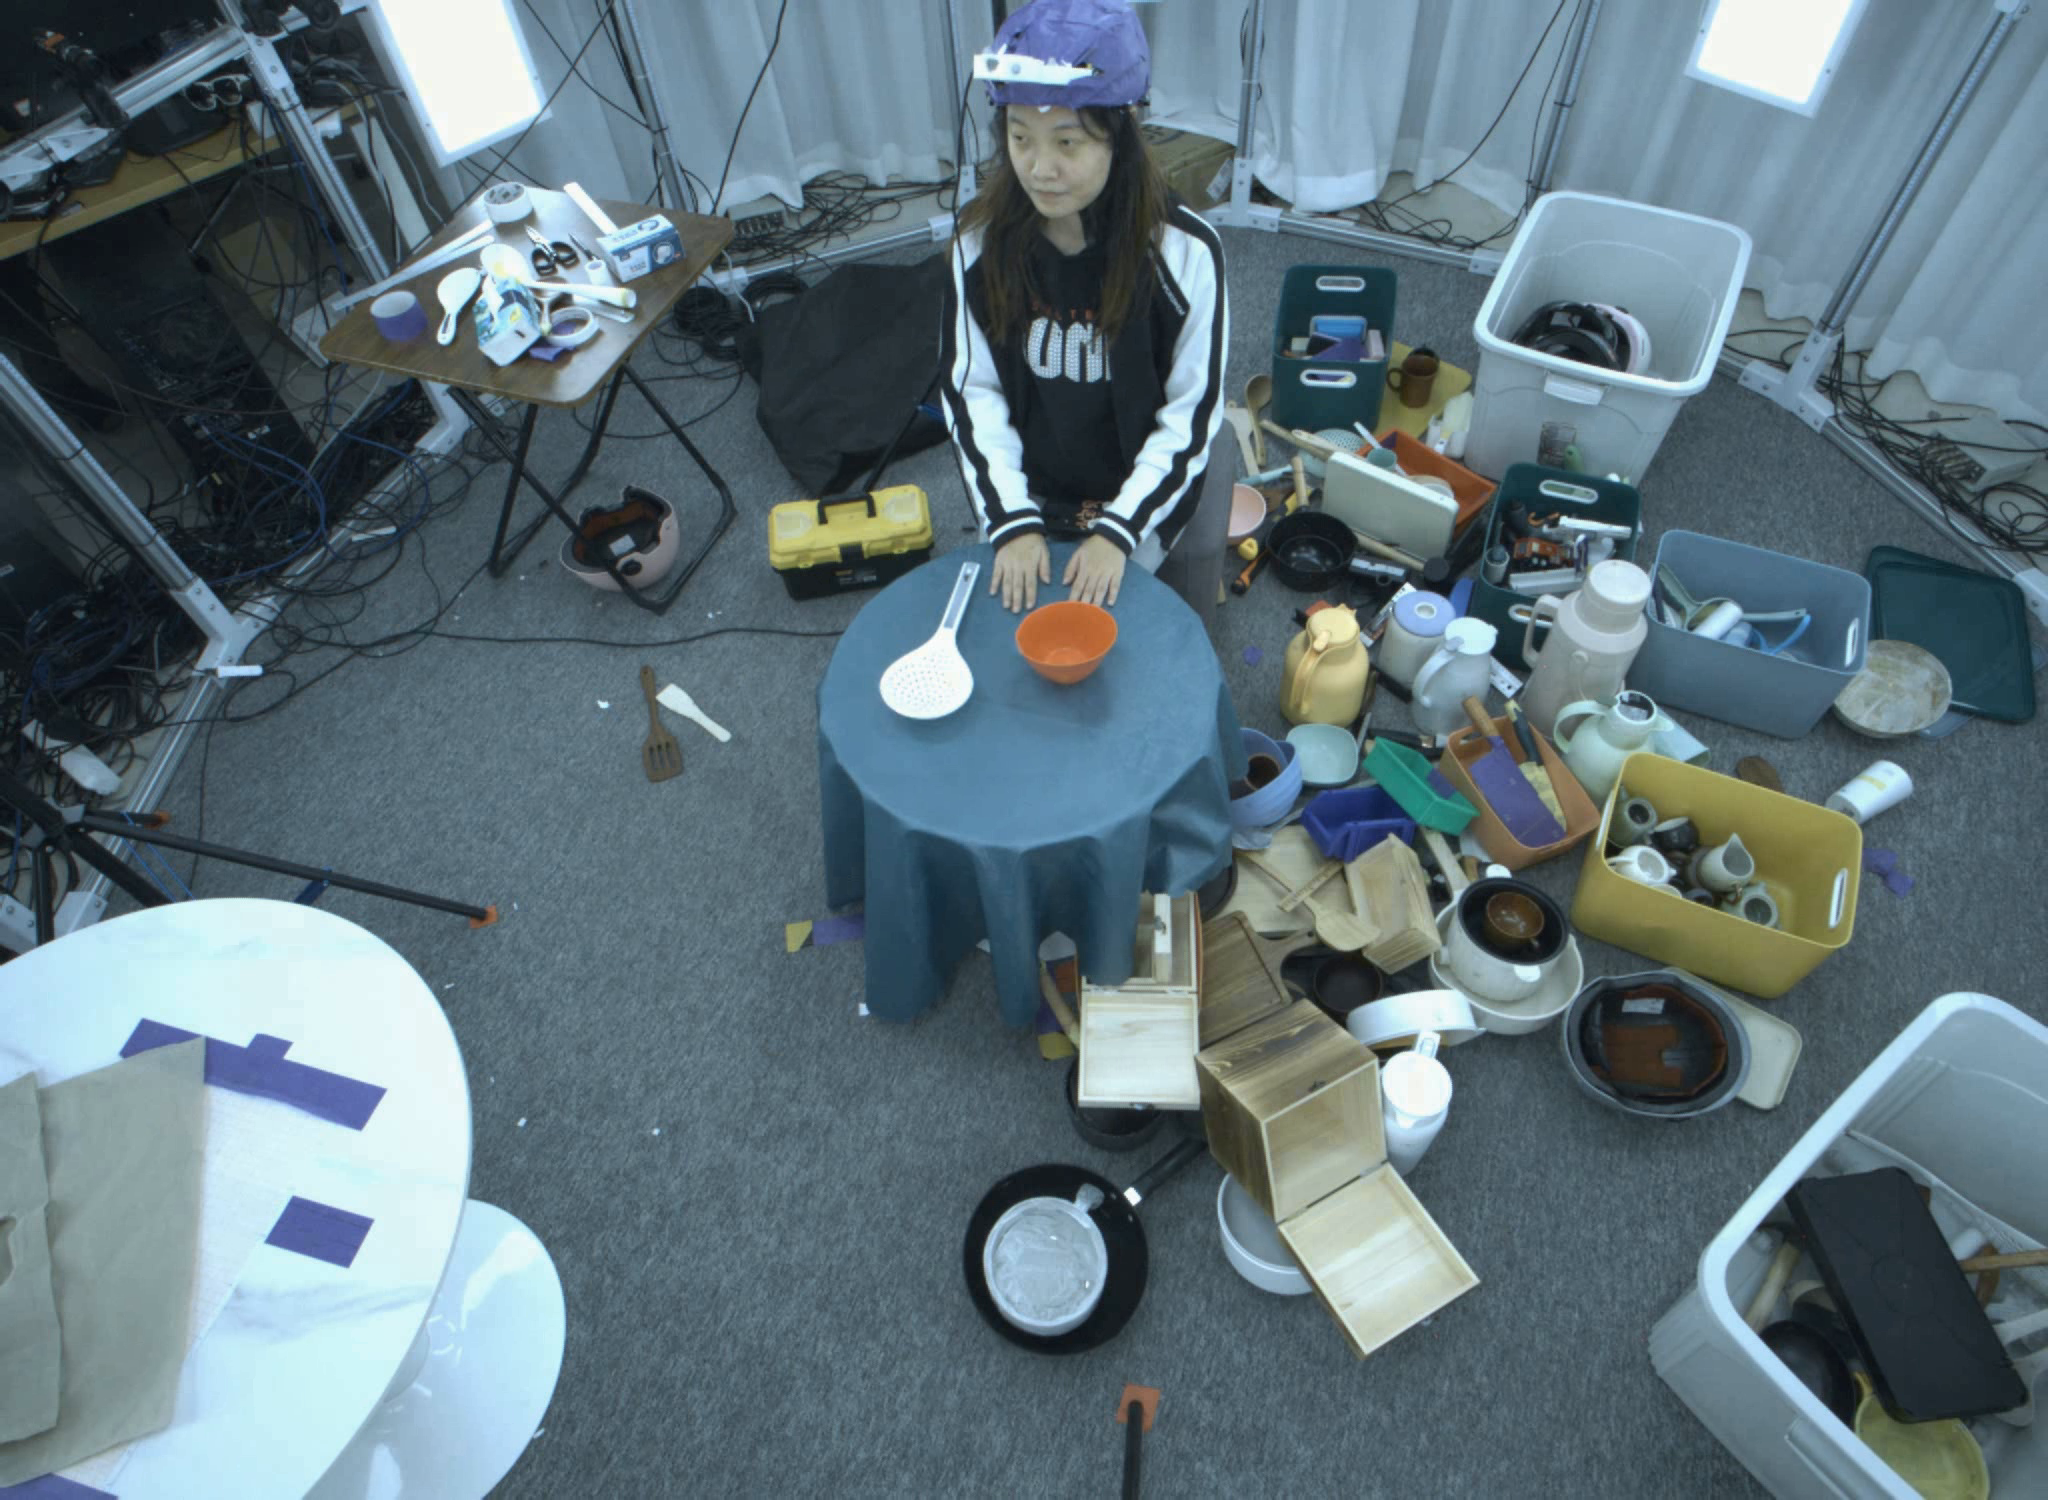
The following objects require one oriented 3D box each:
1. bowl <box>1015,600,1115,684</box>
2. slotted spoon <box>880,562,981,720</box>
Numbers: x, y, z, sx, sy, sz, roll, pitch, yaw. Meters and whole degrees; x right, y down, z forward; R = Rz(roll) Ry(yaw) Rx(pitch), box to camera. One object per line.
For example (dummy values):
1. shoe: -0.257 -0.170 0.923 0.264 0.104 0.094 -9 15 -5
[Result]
1. bowl: 0.064 -0.147 1.826 0.147 0.106 0.146 -3 55 5
2. slotted spoon: -0.122 -0.172 1.886 0.135 0.046 0.348 10 55 7
